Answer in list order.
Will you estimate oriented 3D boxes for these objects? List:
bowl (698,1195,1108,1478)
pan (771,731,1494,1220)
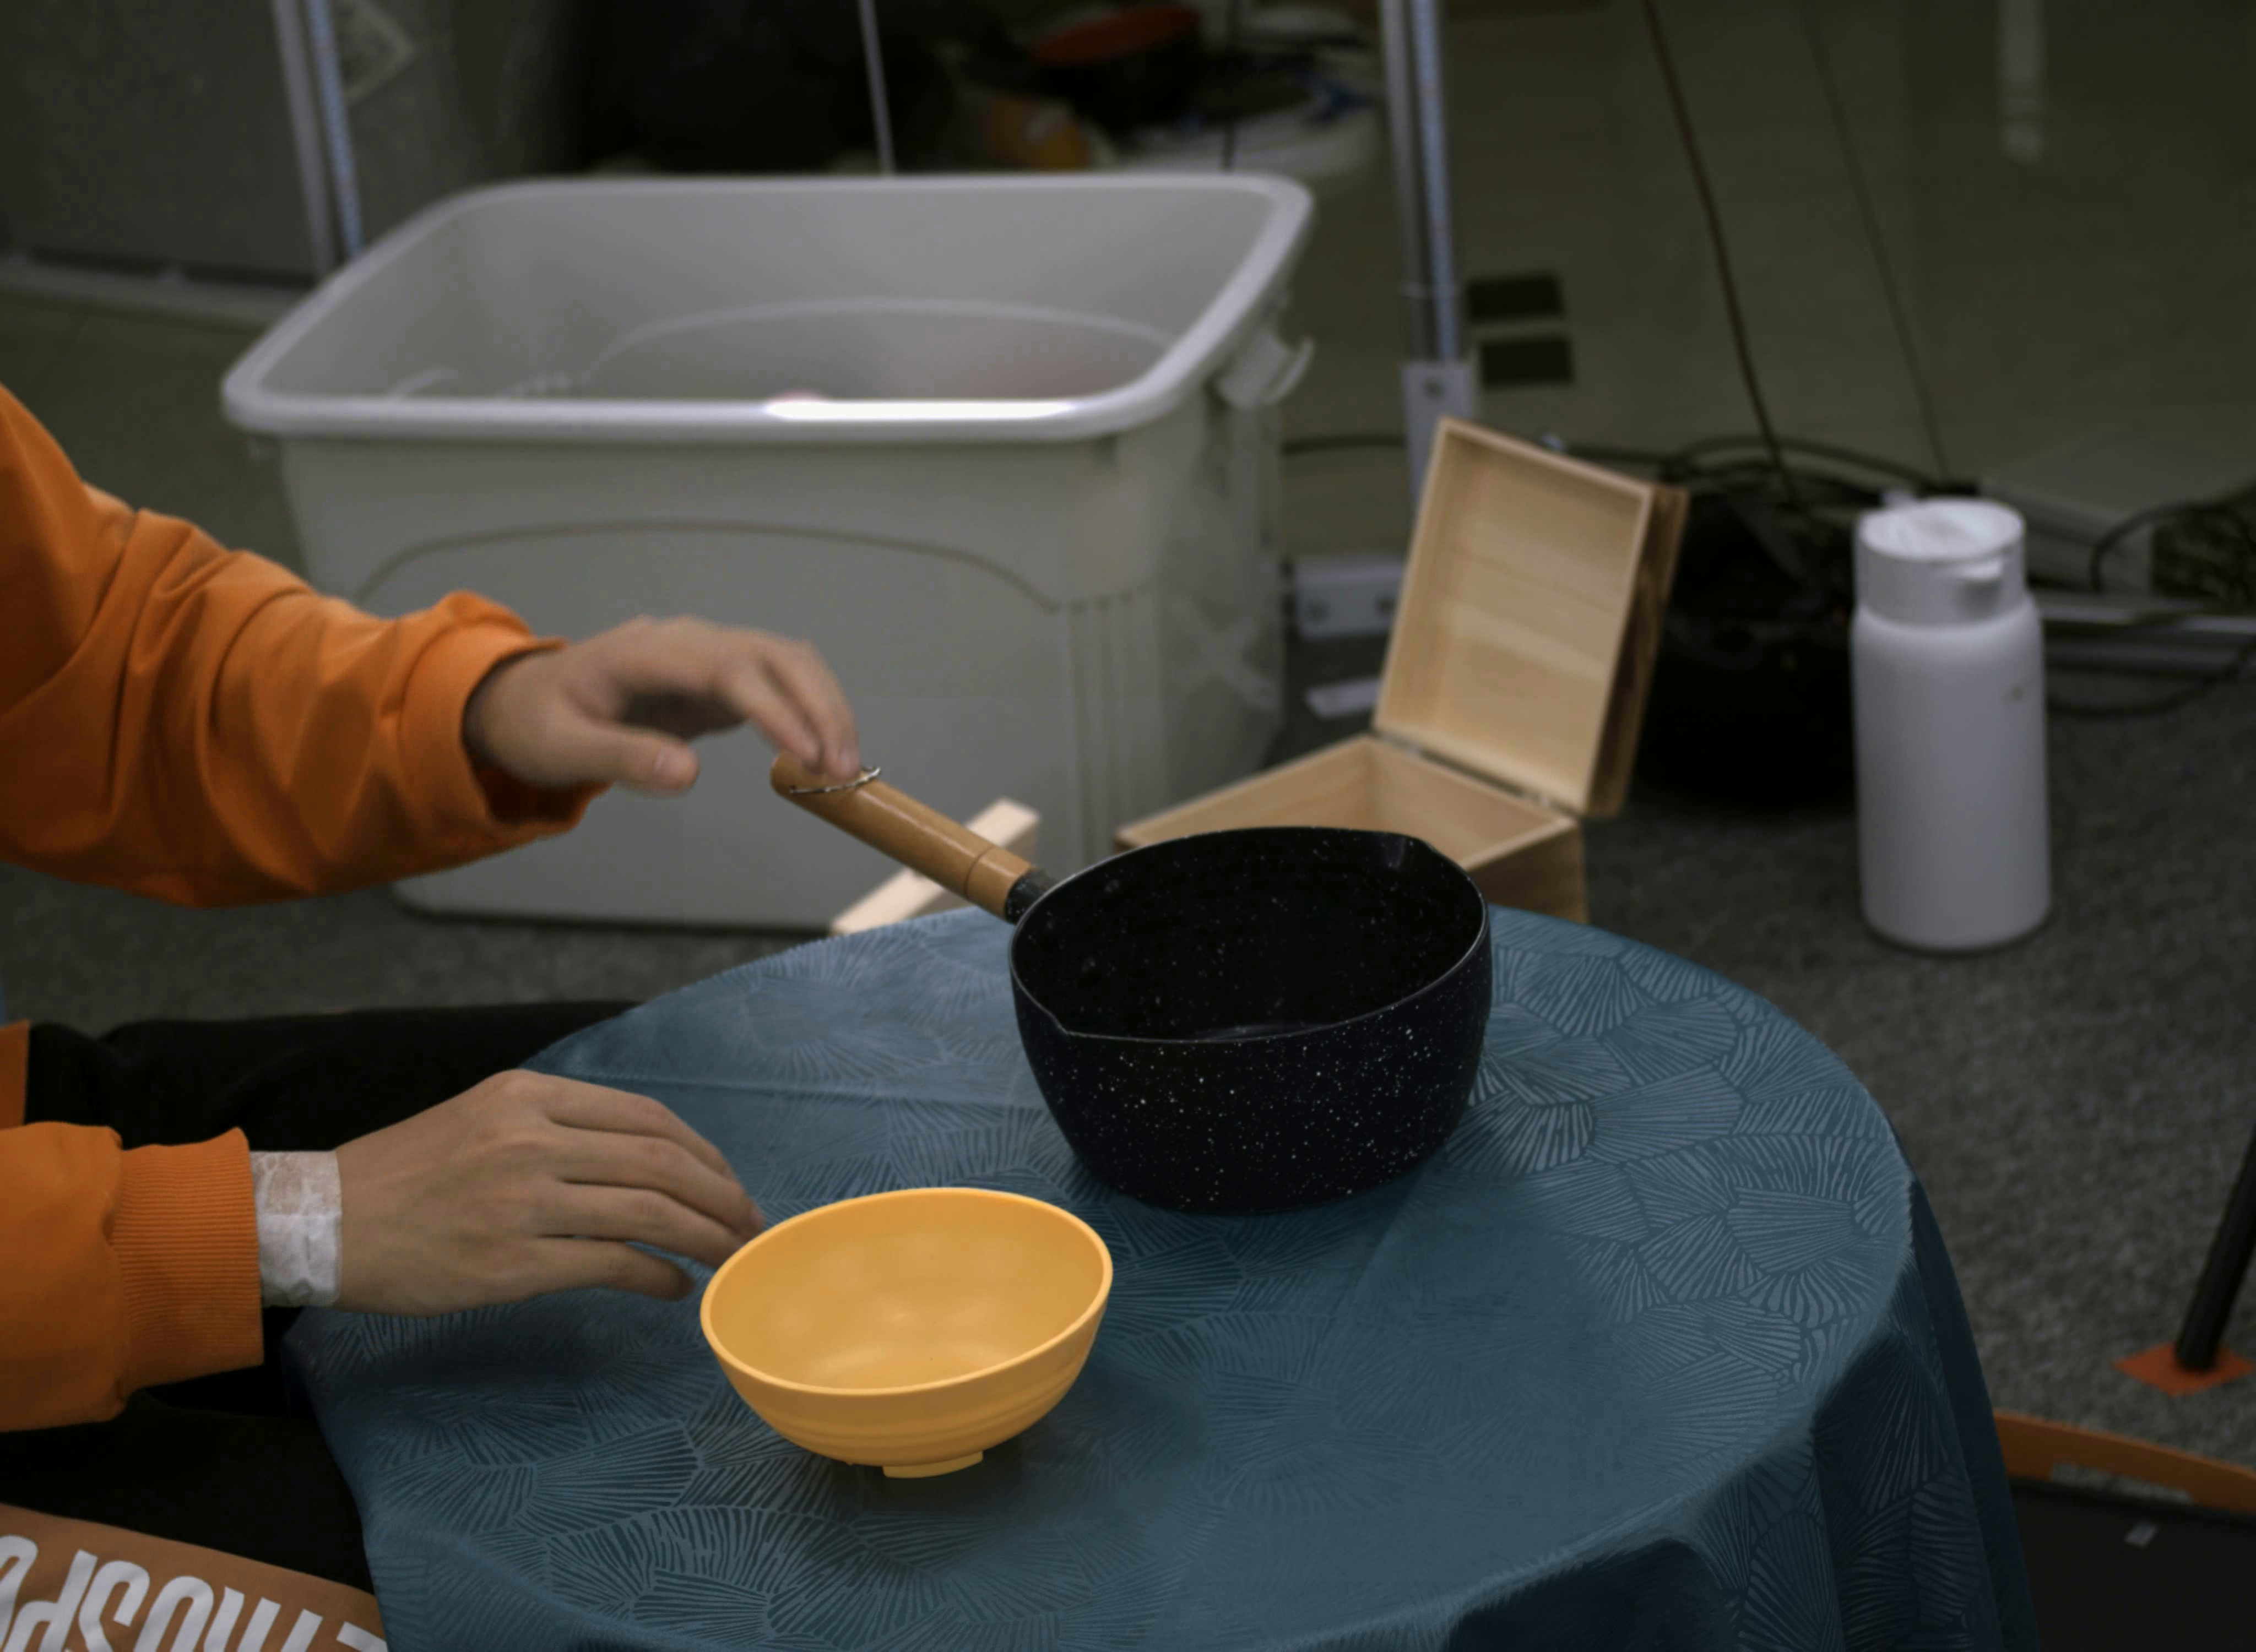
[{"bbox_3d":[-0.076,0.187,1.992,0.145,0.061,0.143,-5,24,2],"label":"bowl"},{"bbox_3d":[-0.011,0.050,2.211,0.340,0.110,0.205,17,35,38],"label":"pan"}]
